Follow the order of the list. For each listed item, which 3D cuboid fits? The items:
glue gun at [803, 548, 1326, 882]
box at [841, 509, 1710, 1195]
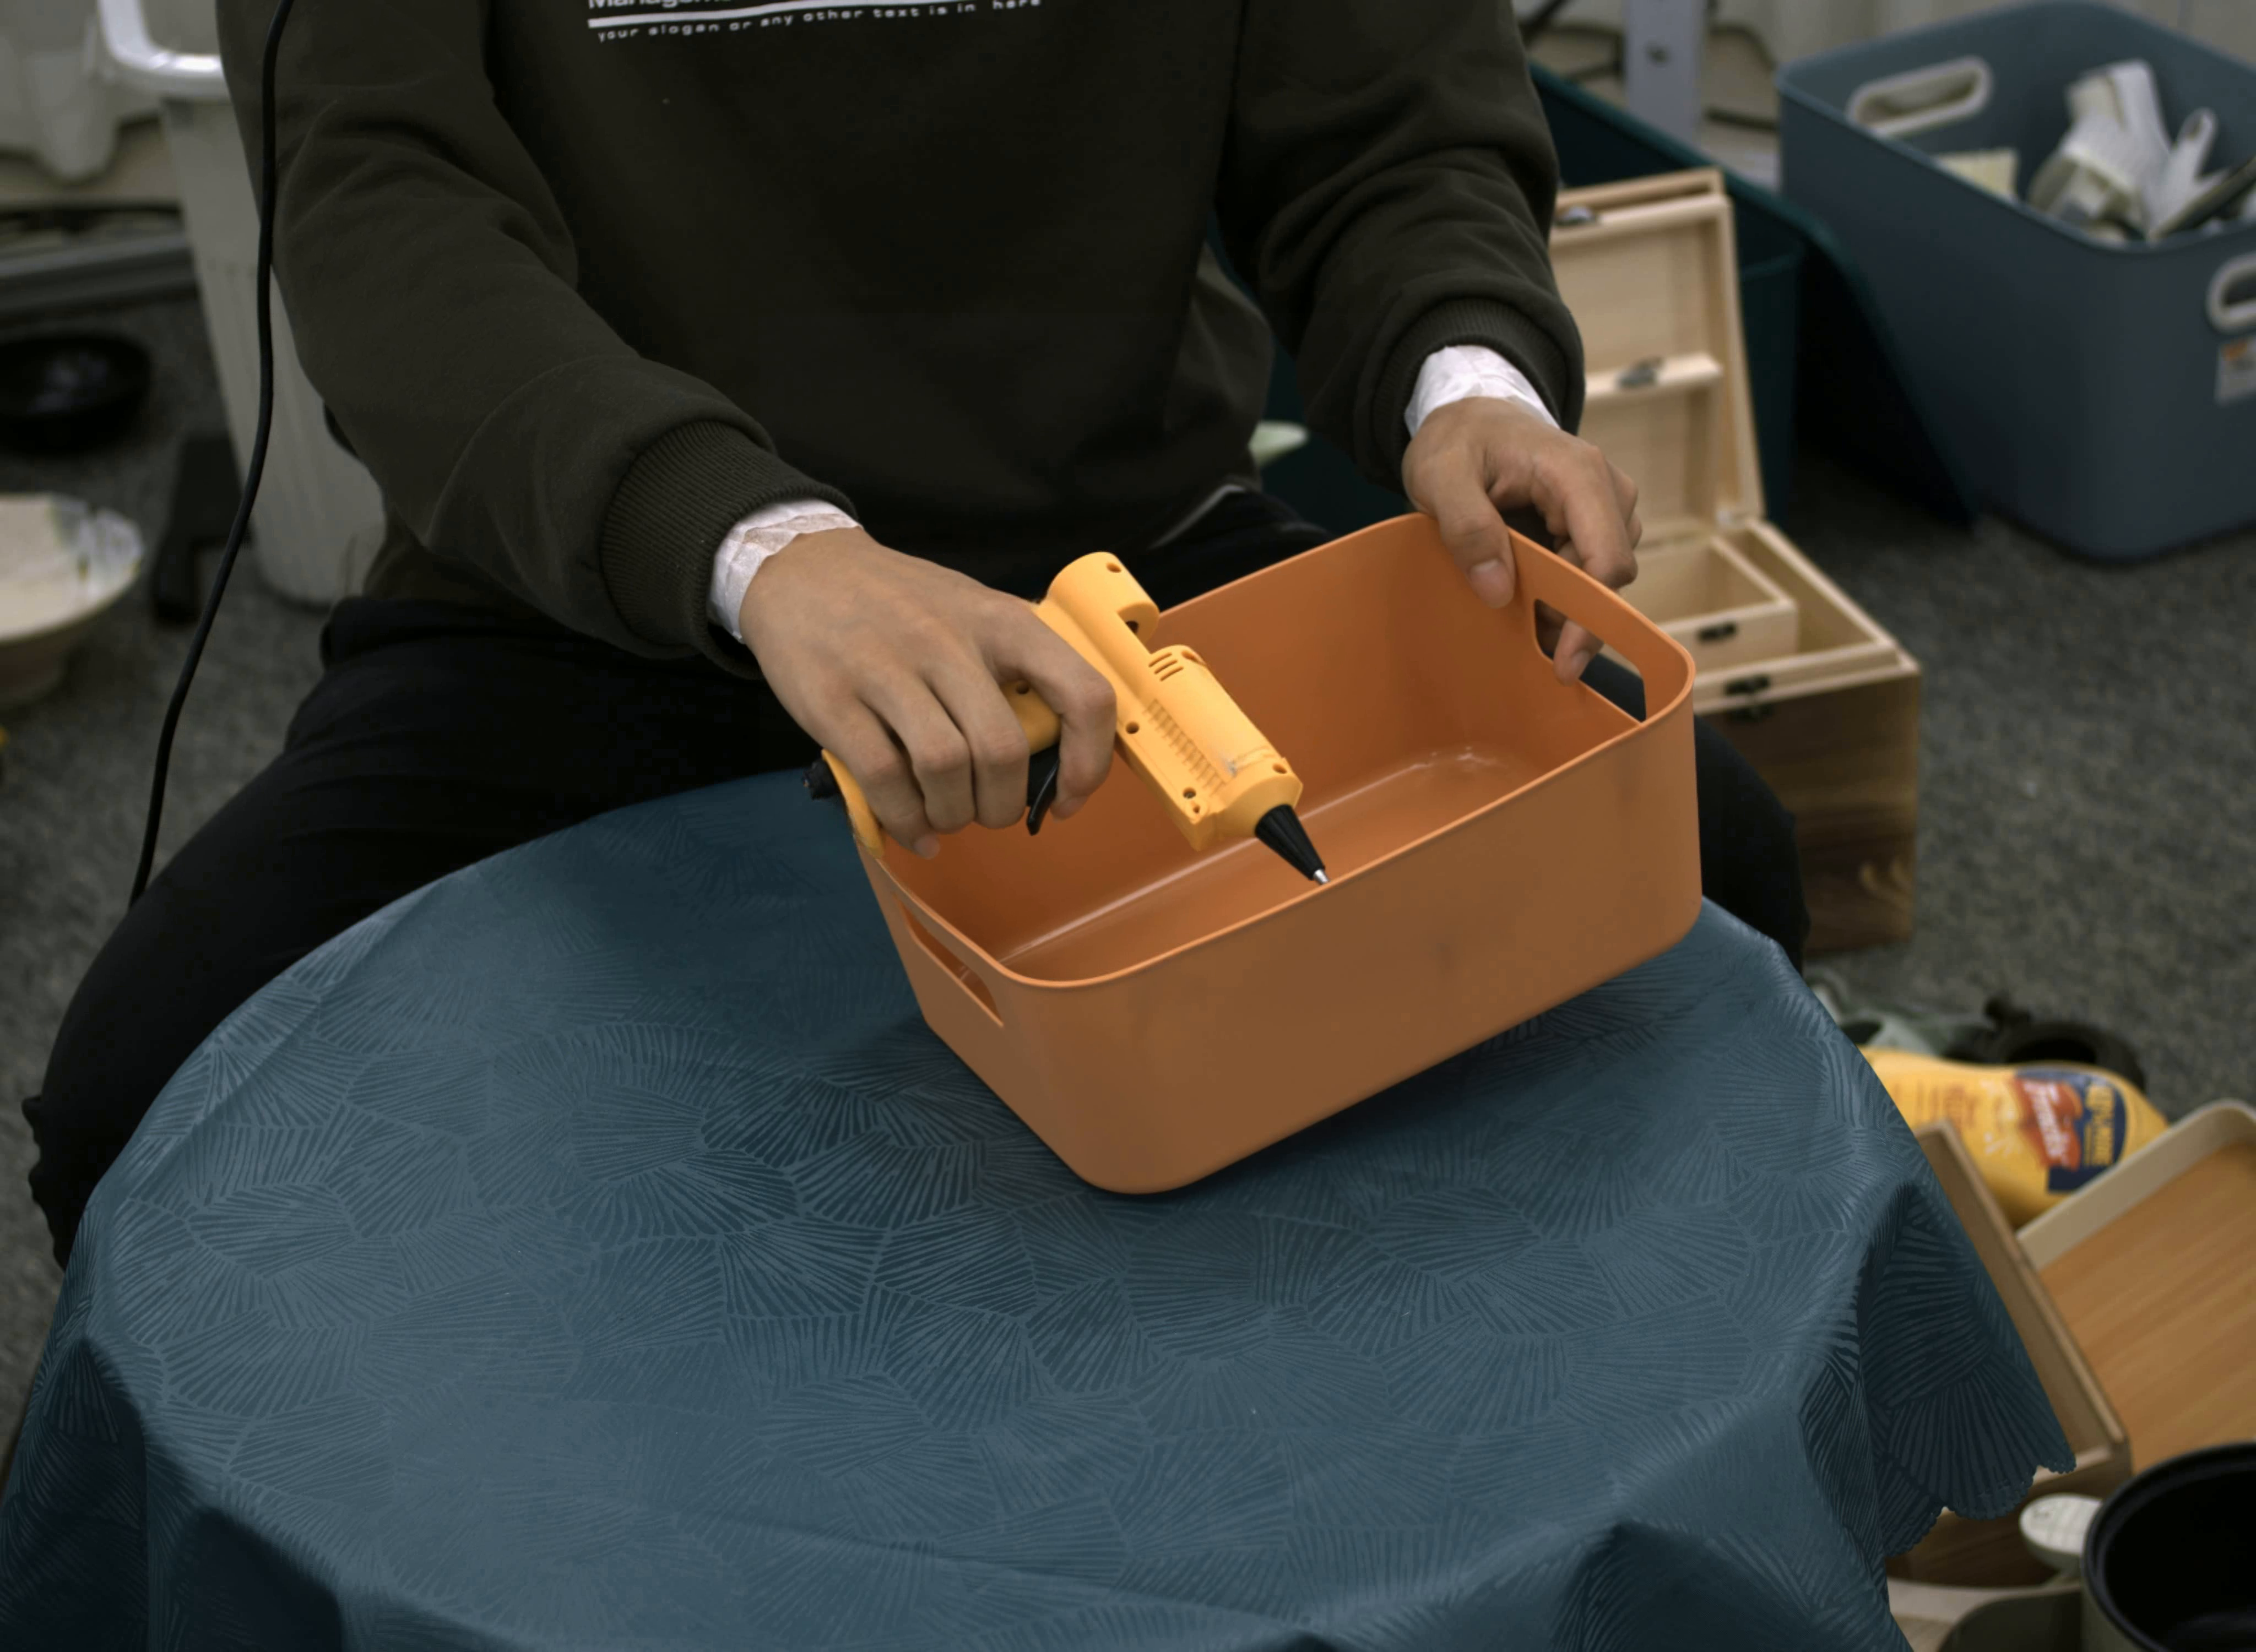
[{"bbox_3d":[-0.013,-0.008,1.848,0.134,0.030,0.152,-36,60,-16],"label":"glue gun"},{"bbox_3d":[0.056,0.009,1.934,0.275,0.101,0.200,-25,32,-19],"label":"box"}]
